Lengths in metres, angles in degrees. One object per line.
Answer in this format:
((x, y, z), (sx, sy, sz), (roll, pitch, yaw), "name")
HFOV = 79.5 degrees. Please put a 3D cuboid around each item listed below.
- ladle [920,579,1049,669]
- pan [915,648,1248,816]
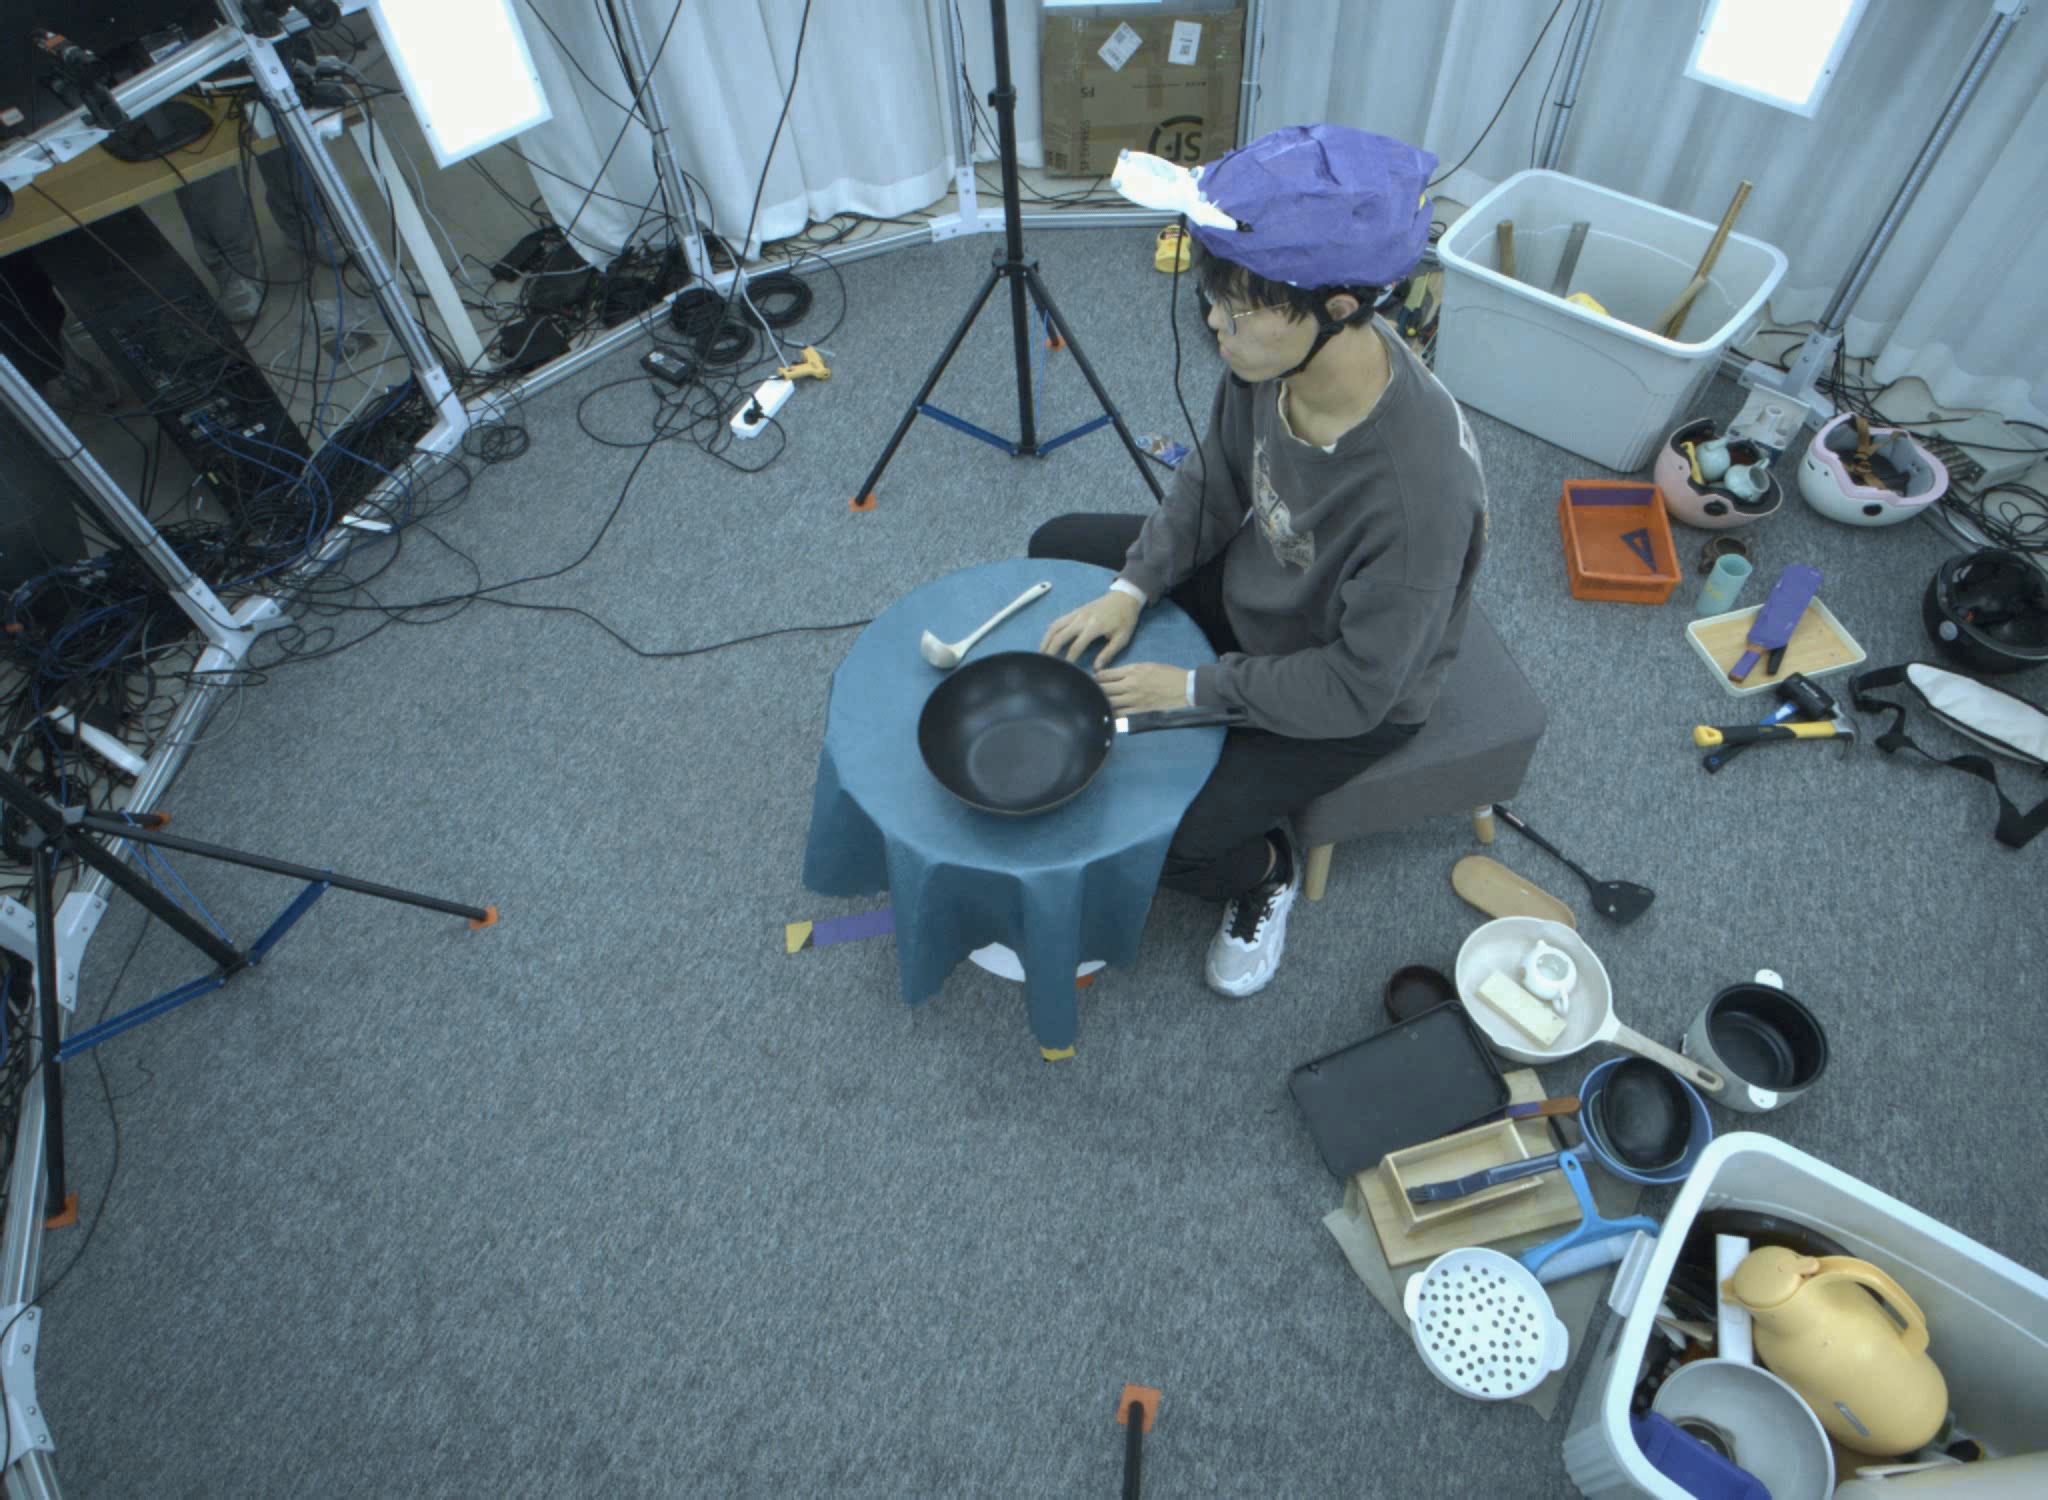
((-0.055, -0.218, 1.898), (0.070, 0.074, 0.256), (34, 63, 31), "ladle")
((0.081, -0.017, 1.743), (0.464, 0.088, 0.285), (-3, 54, -1), "pan")
